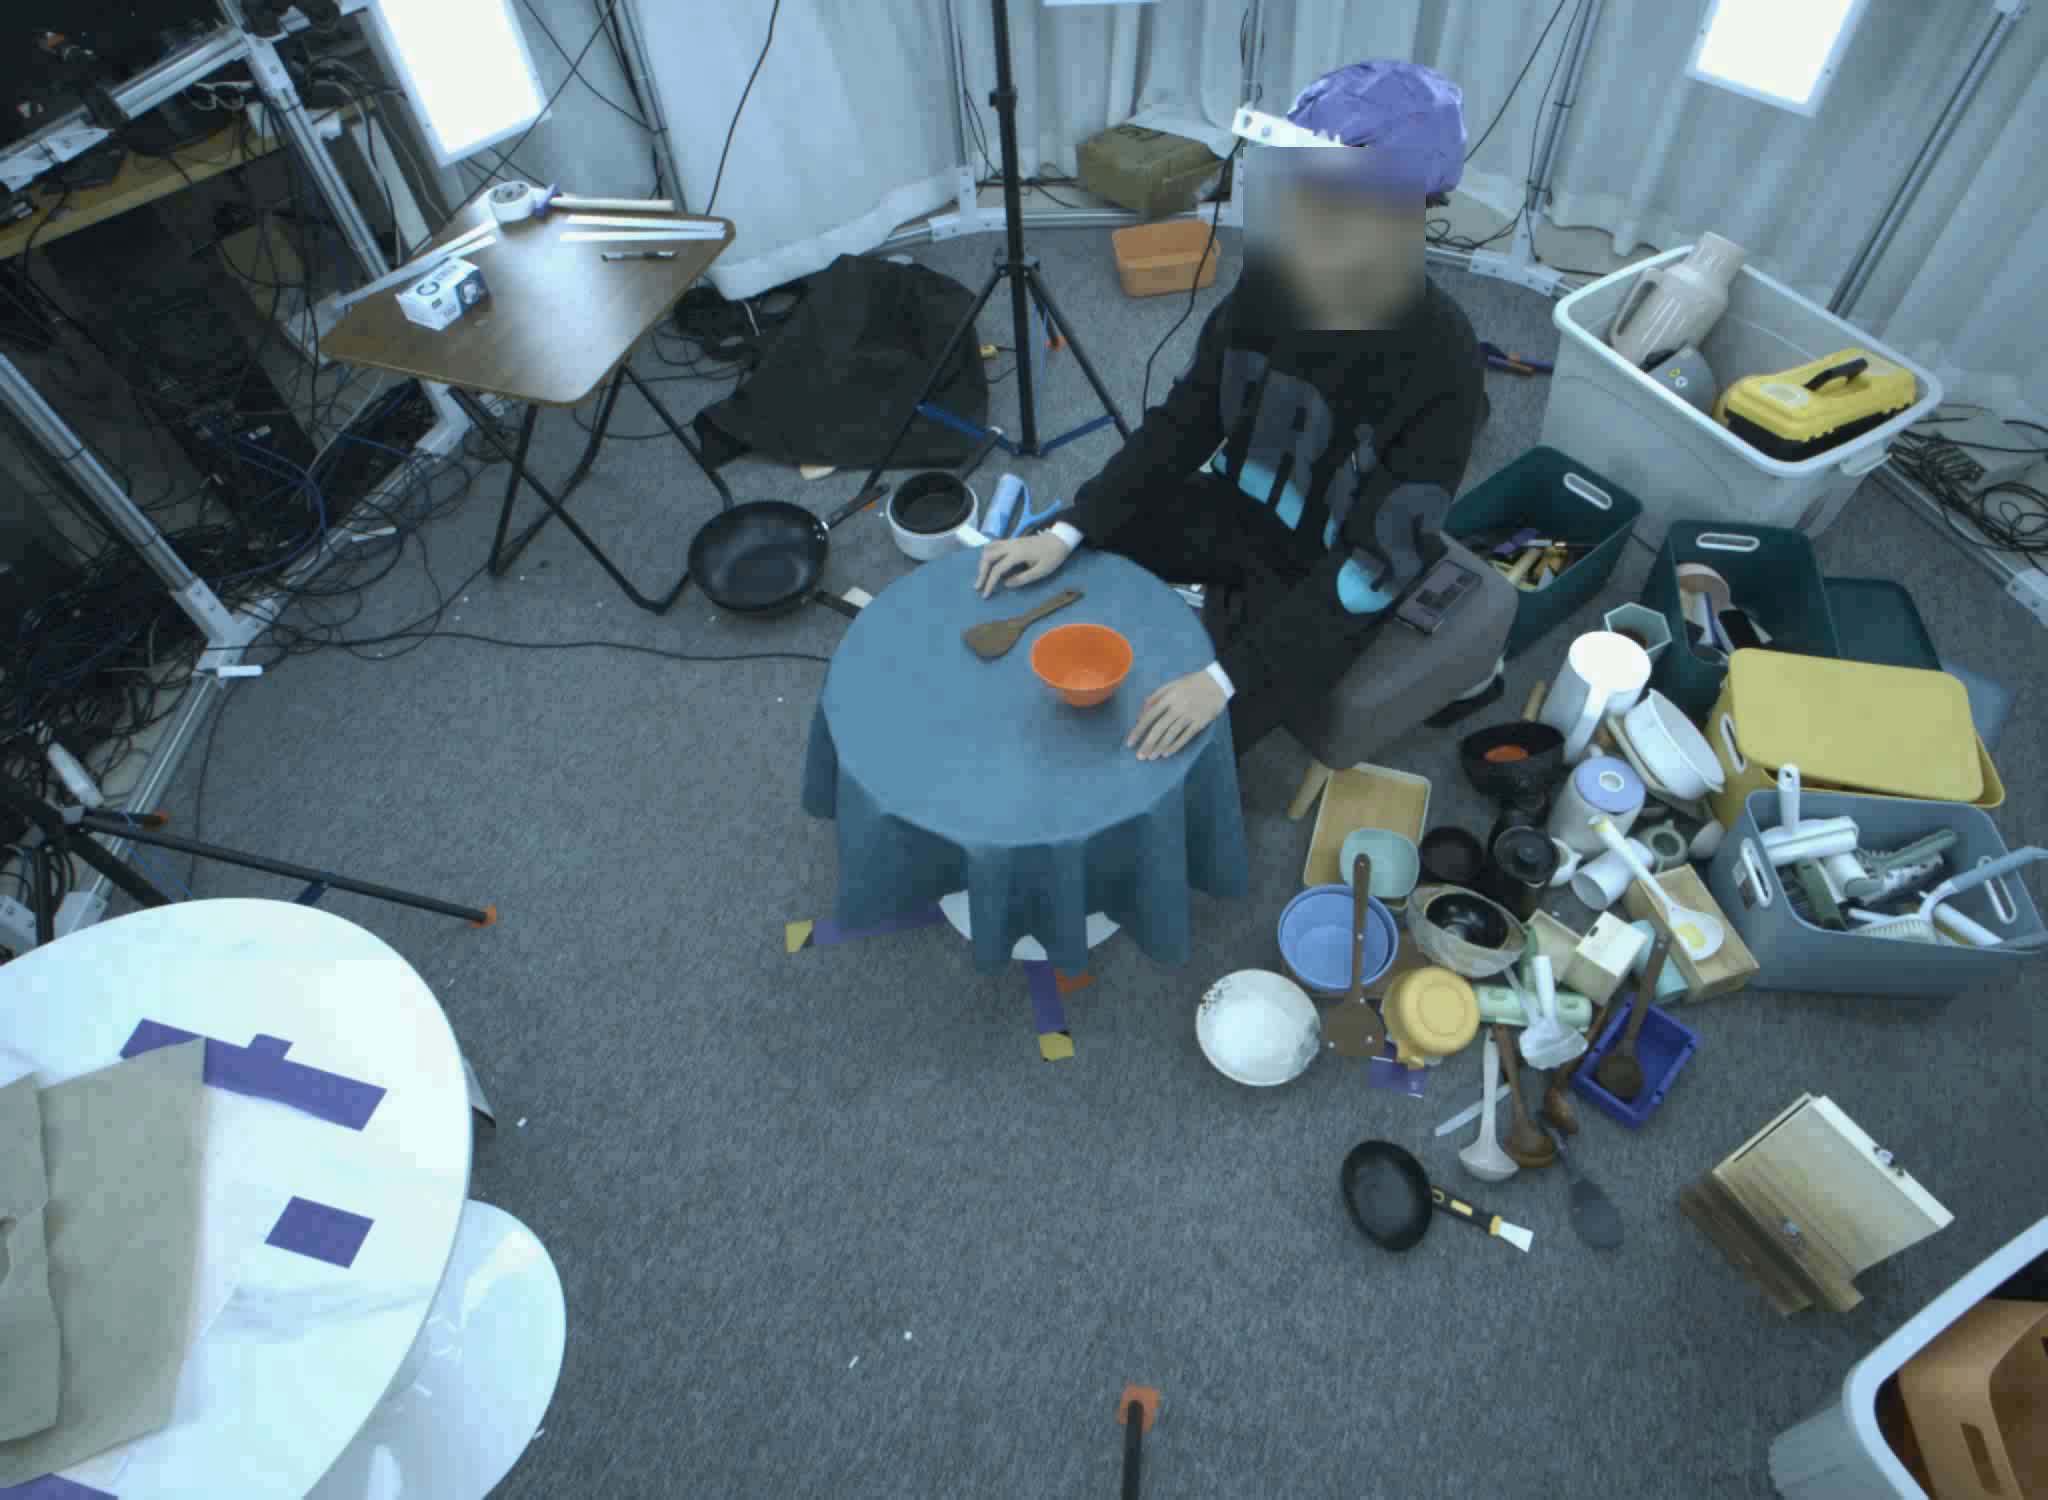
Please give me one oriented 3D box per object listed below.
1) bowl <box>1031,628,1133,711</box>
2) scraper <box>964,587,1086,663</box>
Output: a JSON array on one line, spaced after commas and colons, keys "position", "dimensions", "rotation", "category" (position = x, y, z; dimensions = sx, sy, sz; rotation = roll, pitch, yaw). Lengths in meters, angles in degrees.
[{"position": [0.086, -0.106, 1.809], "dimensions": [0.148, 0.106, 0.146], "rotation": [-1, 53, 2], "category": "bowl"}, {"position": [0.008, -0.204, 1.936], "dimensions": [0.213, 0.011, 0.074], "rotation": [-31, 61, -19], "category": "scraper"}]
